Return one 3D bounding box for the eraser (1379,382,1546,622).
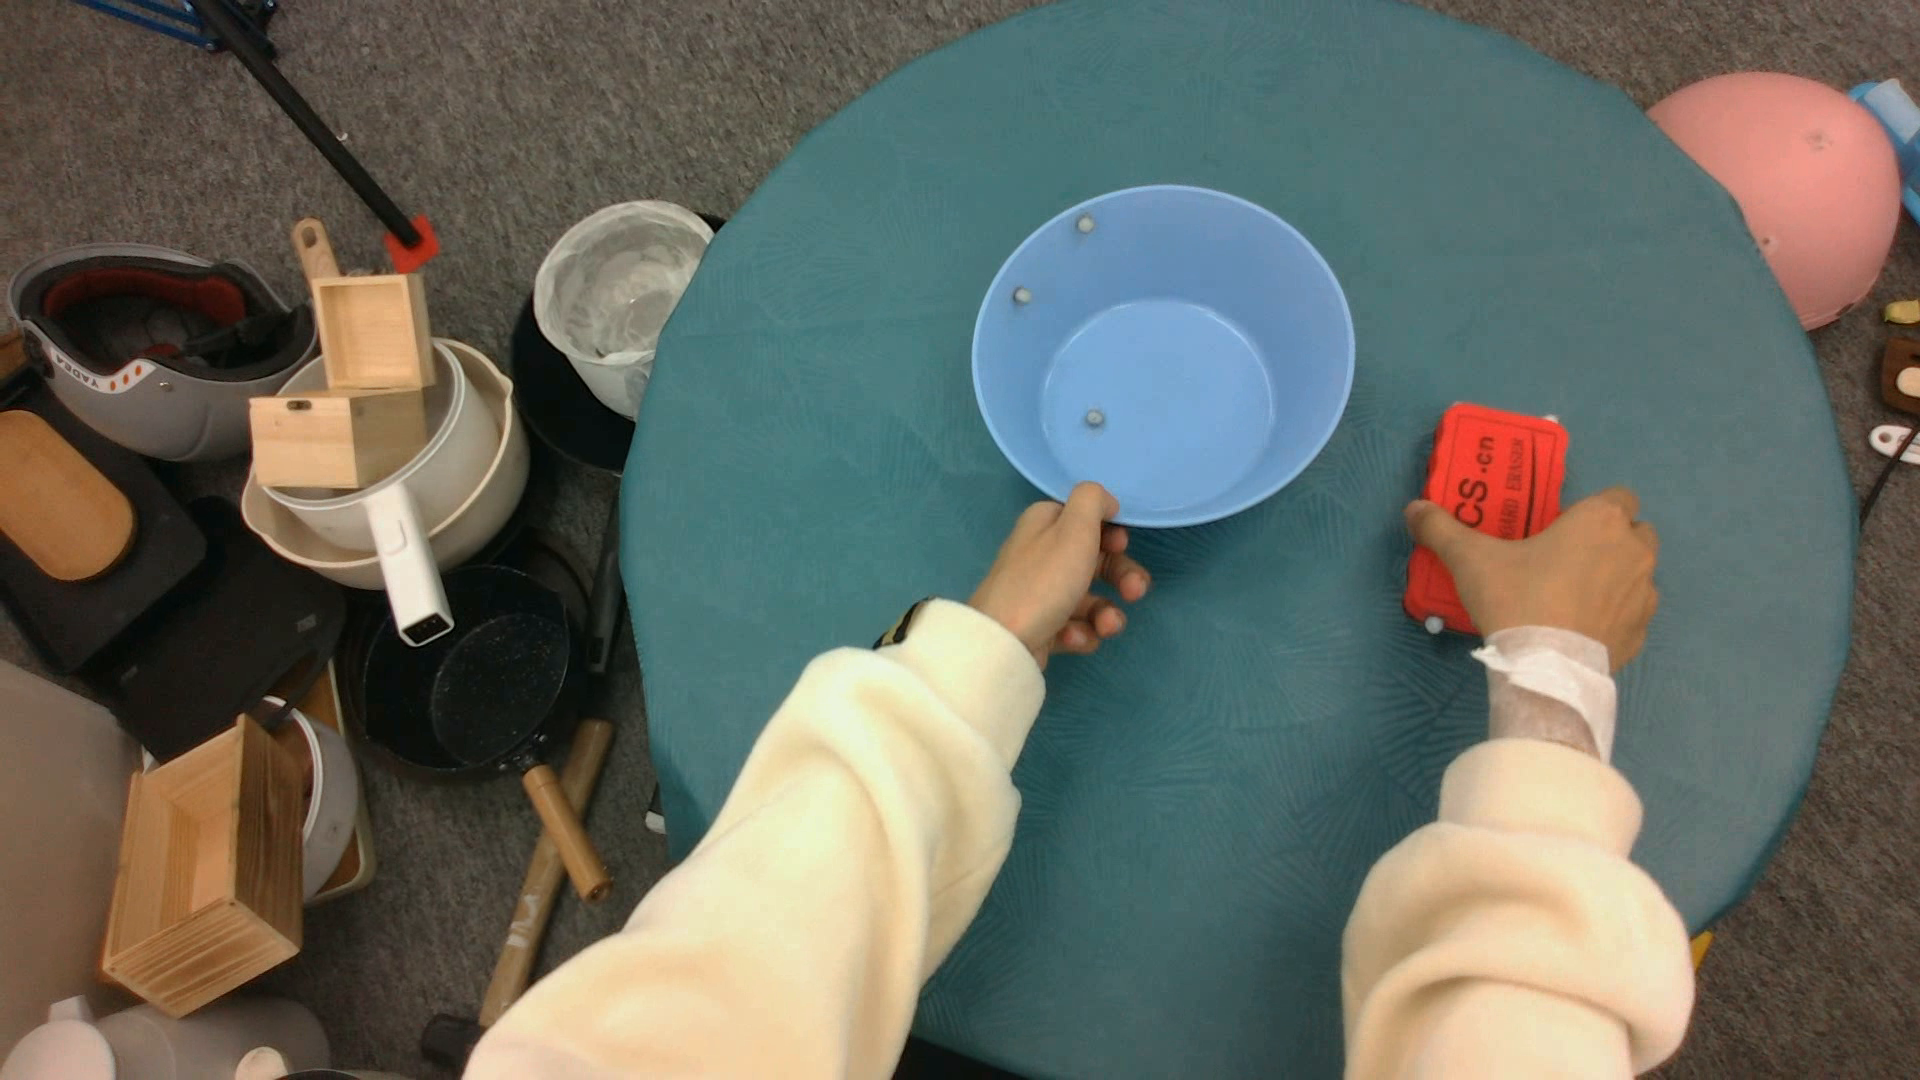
[{"bbox_3d":[0.238,-0.018,0.651,0.059,0.023,0.108,16,73,3],"label":"eraser"}]

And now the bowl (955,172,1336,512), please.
[{"bbox_3d":[0.088,-0.085,0.667,0.176,0.070,0.176,-2,70,5],"label":"bowl"}]
